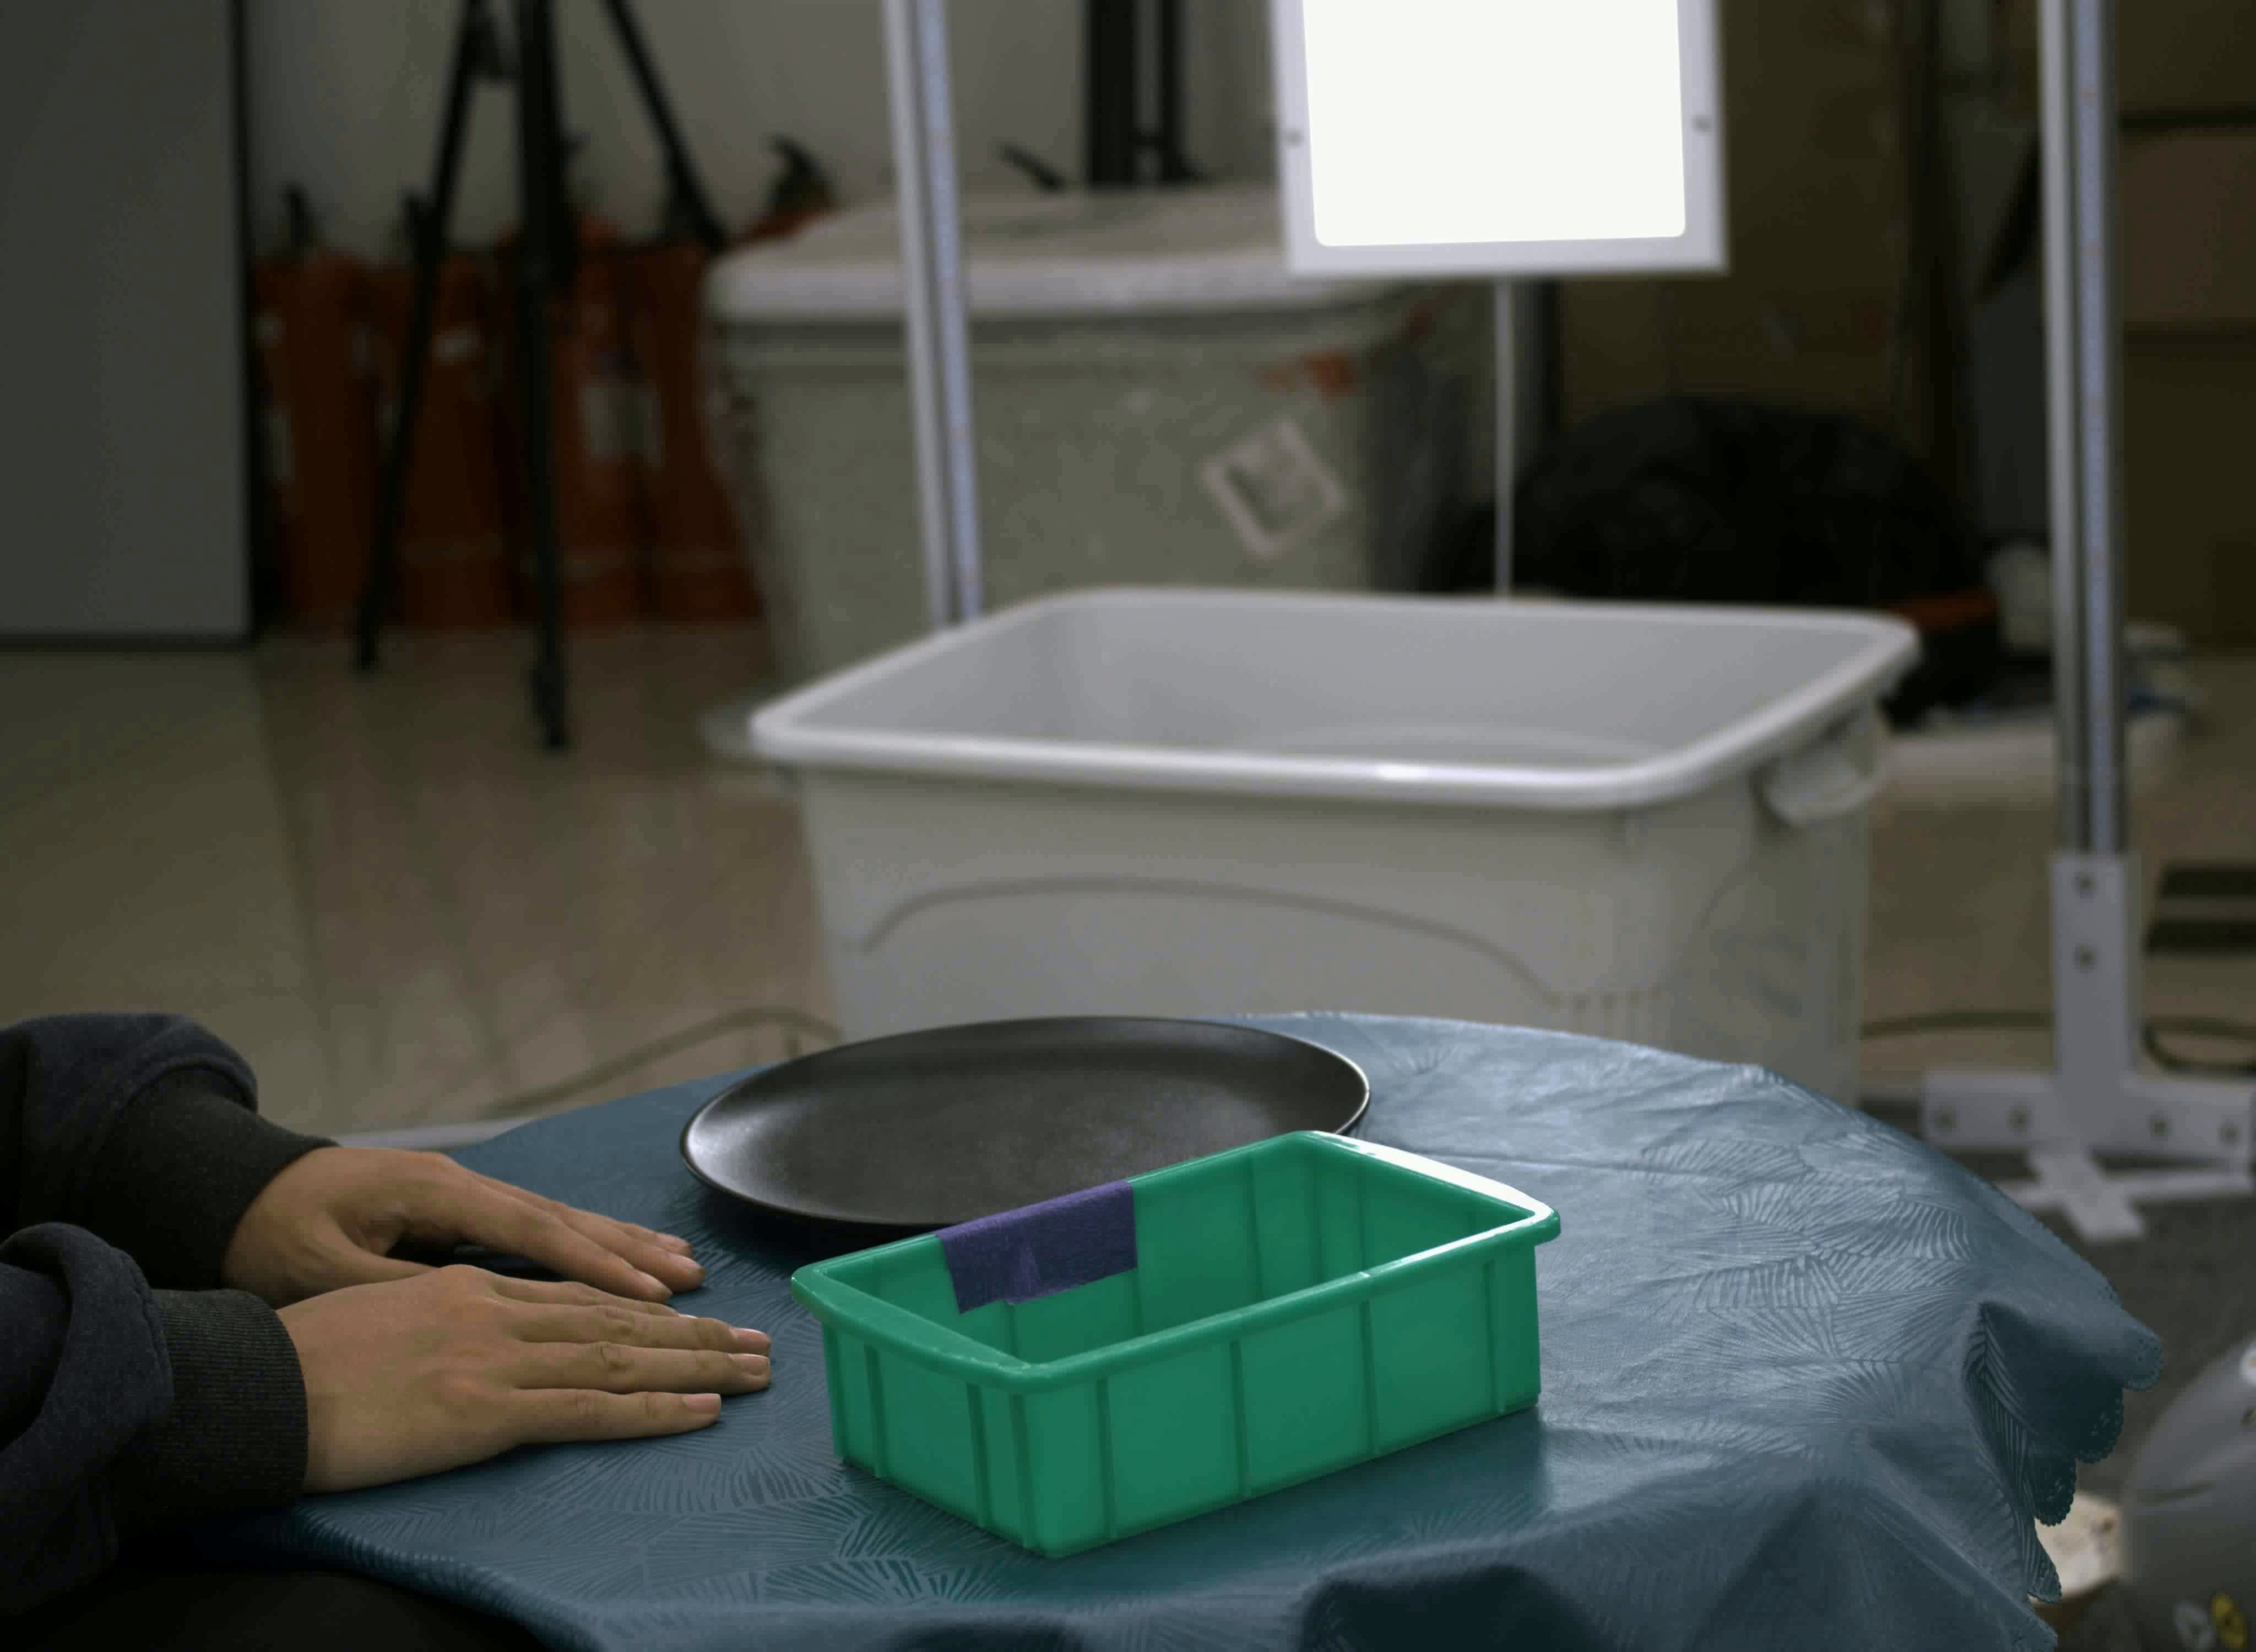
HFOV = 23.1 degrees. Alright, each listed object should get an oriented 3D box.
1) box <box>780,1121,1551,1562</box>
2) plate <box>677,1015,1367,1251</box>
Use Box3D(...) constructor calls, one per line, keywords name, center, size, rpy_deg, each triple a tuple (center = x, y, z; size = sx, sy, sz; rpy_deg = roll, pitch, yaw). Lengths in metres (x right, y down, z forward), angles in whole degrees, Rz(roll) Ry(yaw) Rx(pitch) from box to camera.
Box3D(name="box", center=(0.014, 0.153, 1.649), size=(0.205, 0.065, 0.141), rpy_deg=(-16, 16, -31))
Box3D(name="plate", center=(-0.036, 0.110, 1.929), size=(0.244, 0.023, 0.244), rpy_deg=(-5, 14, 0))
